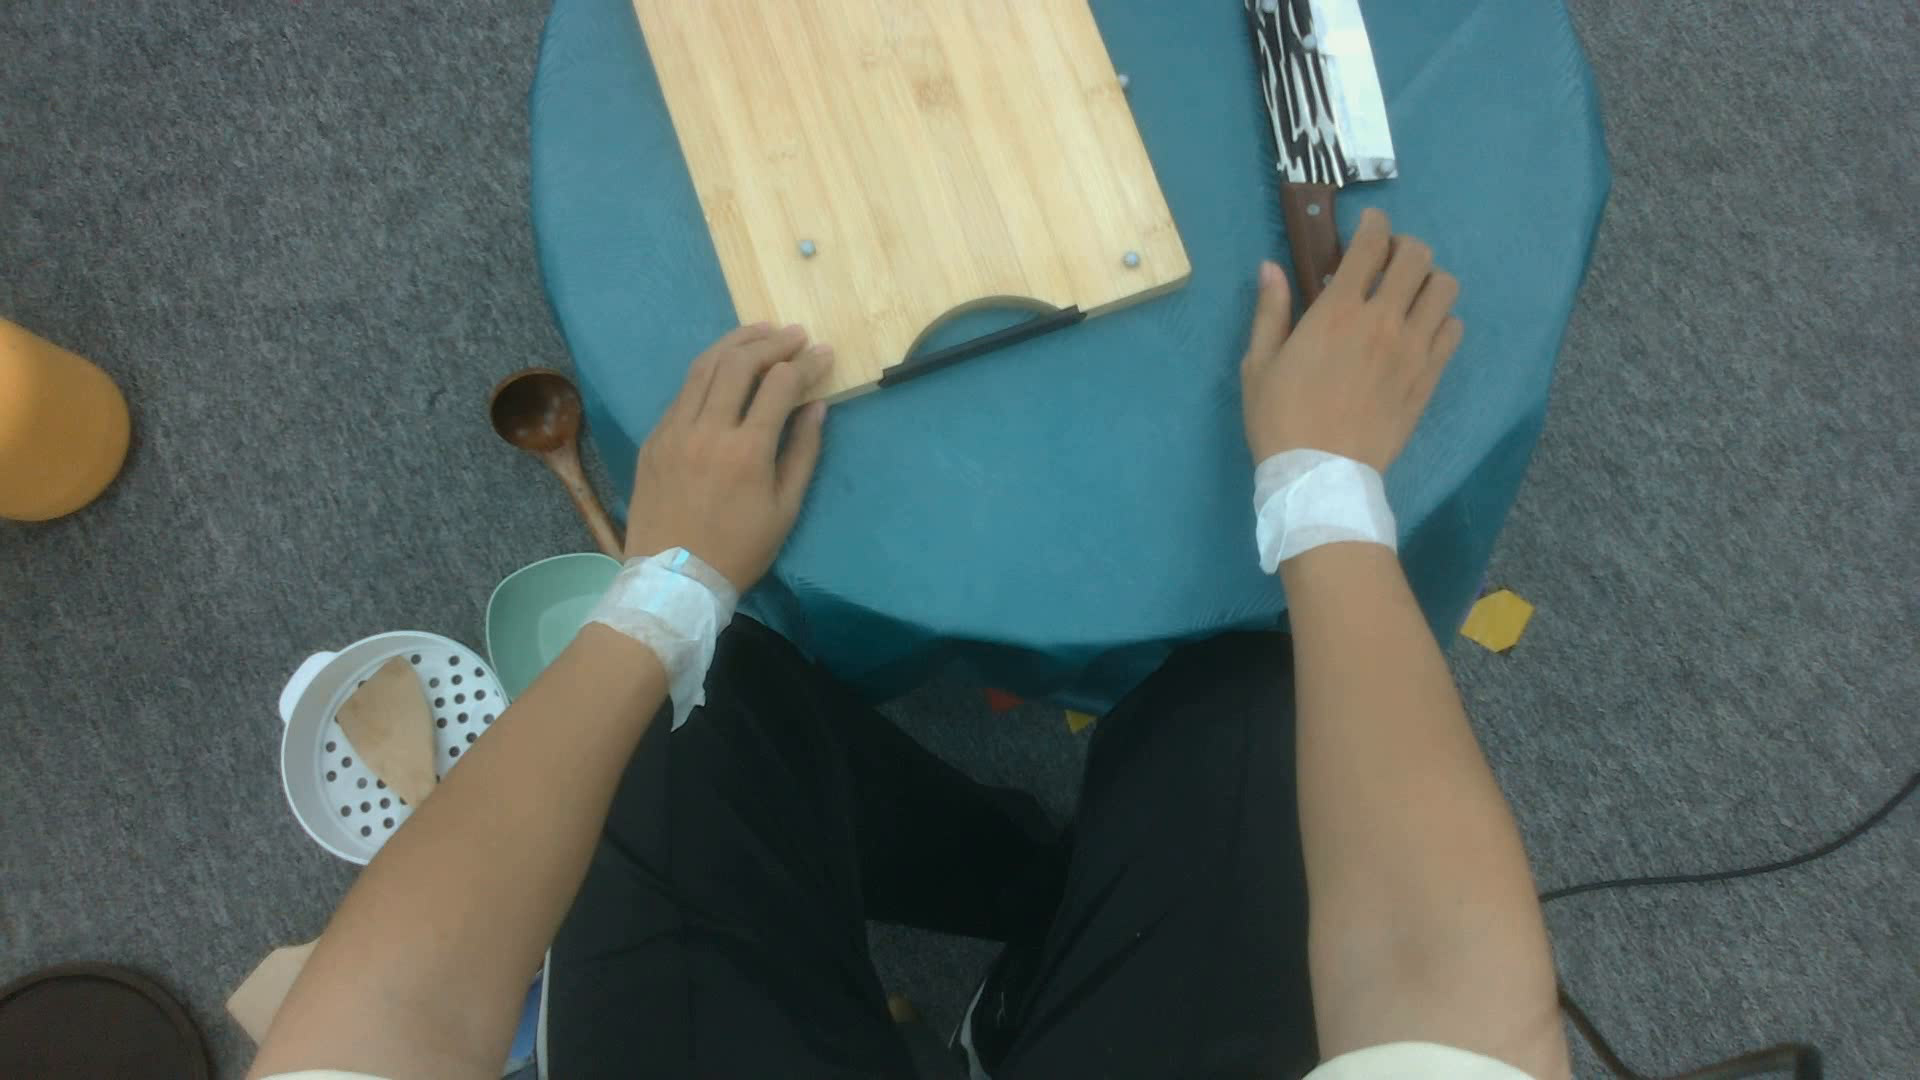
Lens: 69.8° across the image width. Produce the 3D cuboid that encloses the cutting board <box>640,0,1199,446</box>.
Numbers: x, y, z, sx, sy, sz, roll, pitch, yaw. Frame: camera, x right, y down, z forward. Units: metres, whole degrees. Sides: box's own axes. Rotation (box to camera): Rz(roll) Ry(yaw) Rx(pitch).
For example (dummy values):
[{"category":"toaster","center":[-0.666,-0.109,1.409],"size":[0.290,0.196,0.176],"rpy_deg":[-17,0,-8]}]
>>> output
[{"category":"cutting board","center":[-0.038,-0.251,0.790],"size":[0.251,0.023,0.349],"rpy_deg":[-20,78,-3]}]

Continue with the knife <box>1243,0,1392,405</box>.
[{"category":"knife","center":[0.207,-0.220,0.777],"size":[0.068,0.024,0.300],"rpy_deg":[-5,75,-4]}]
